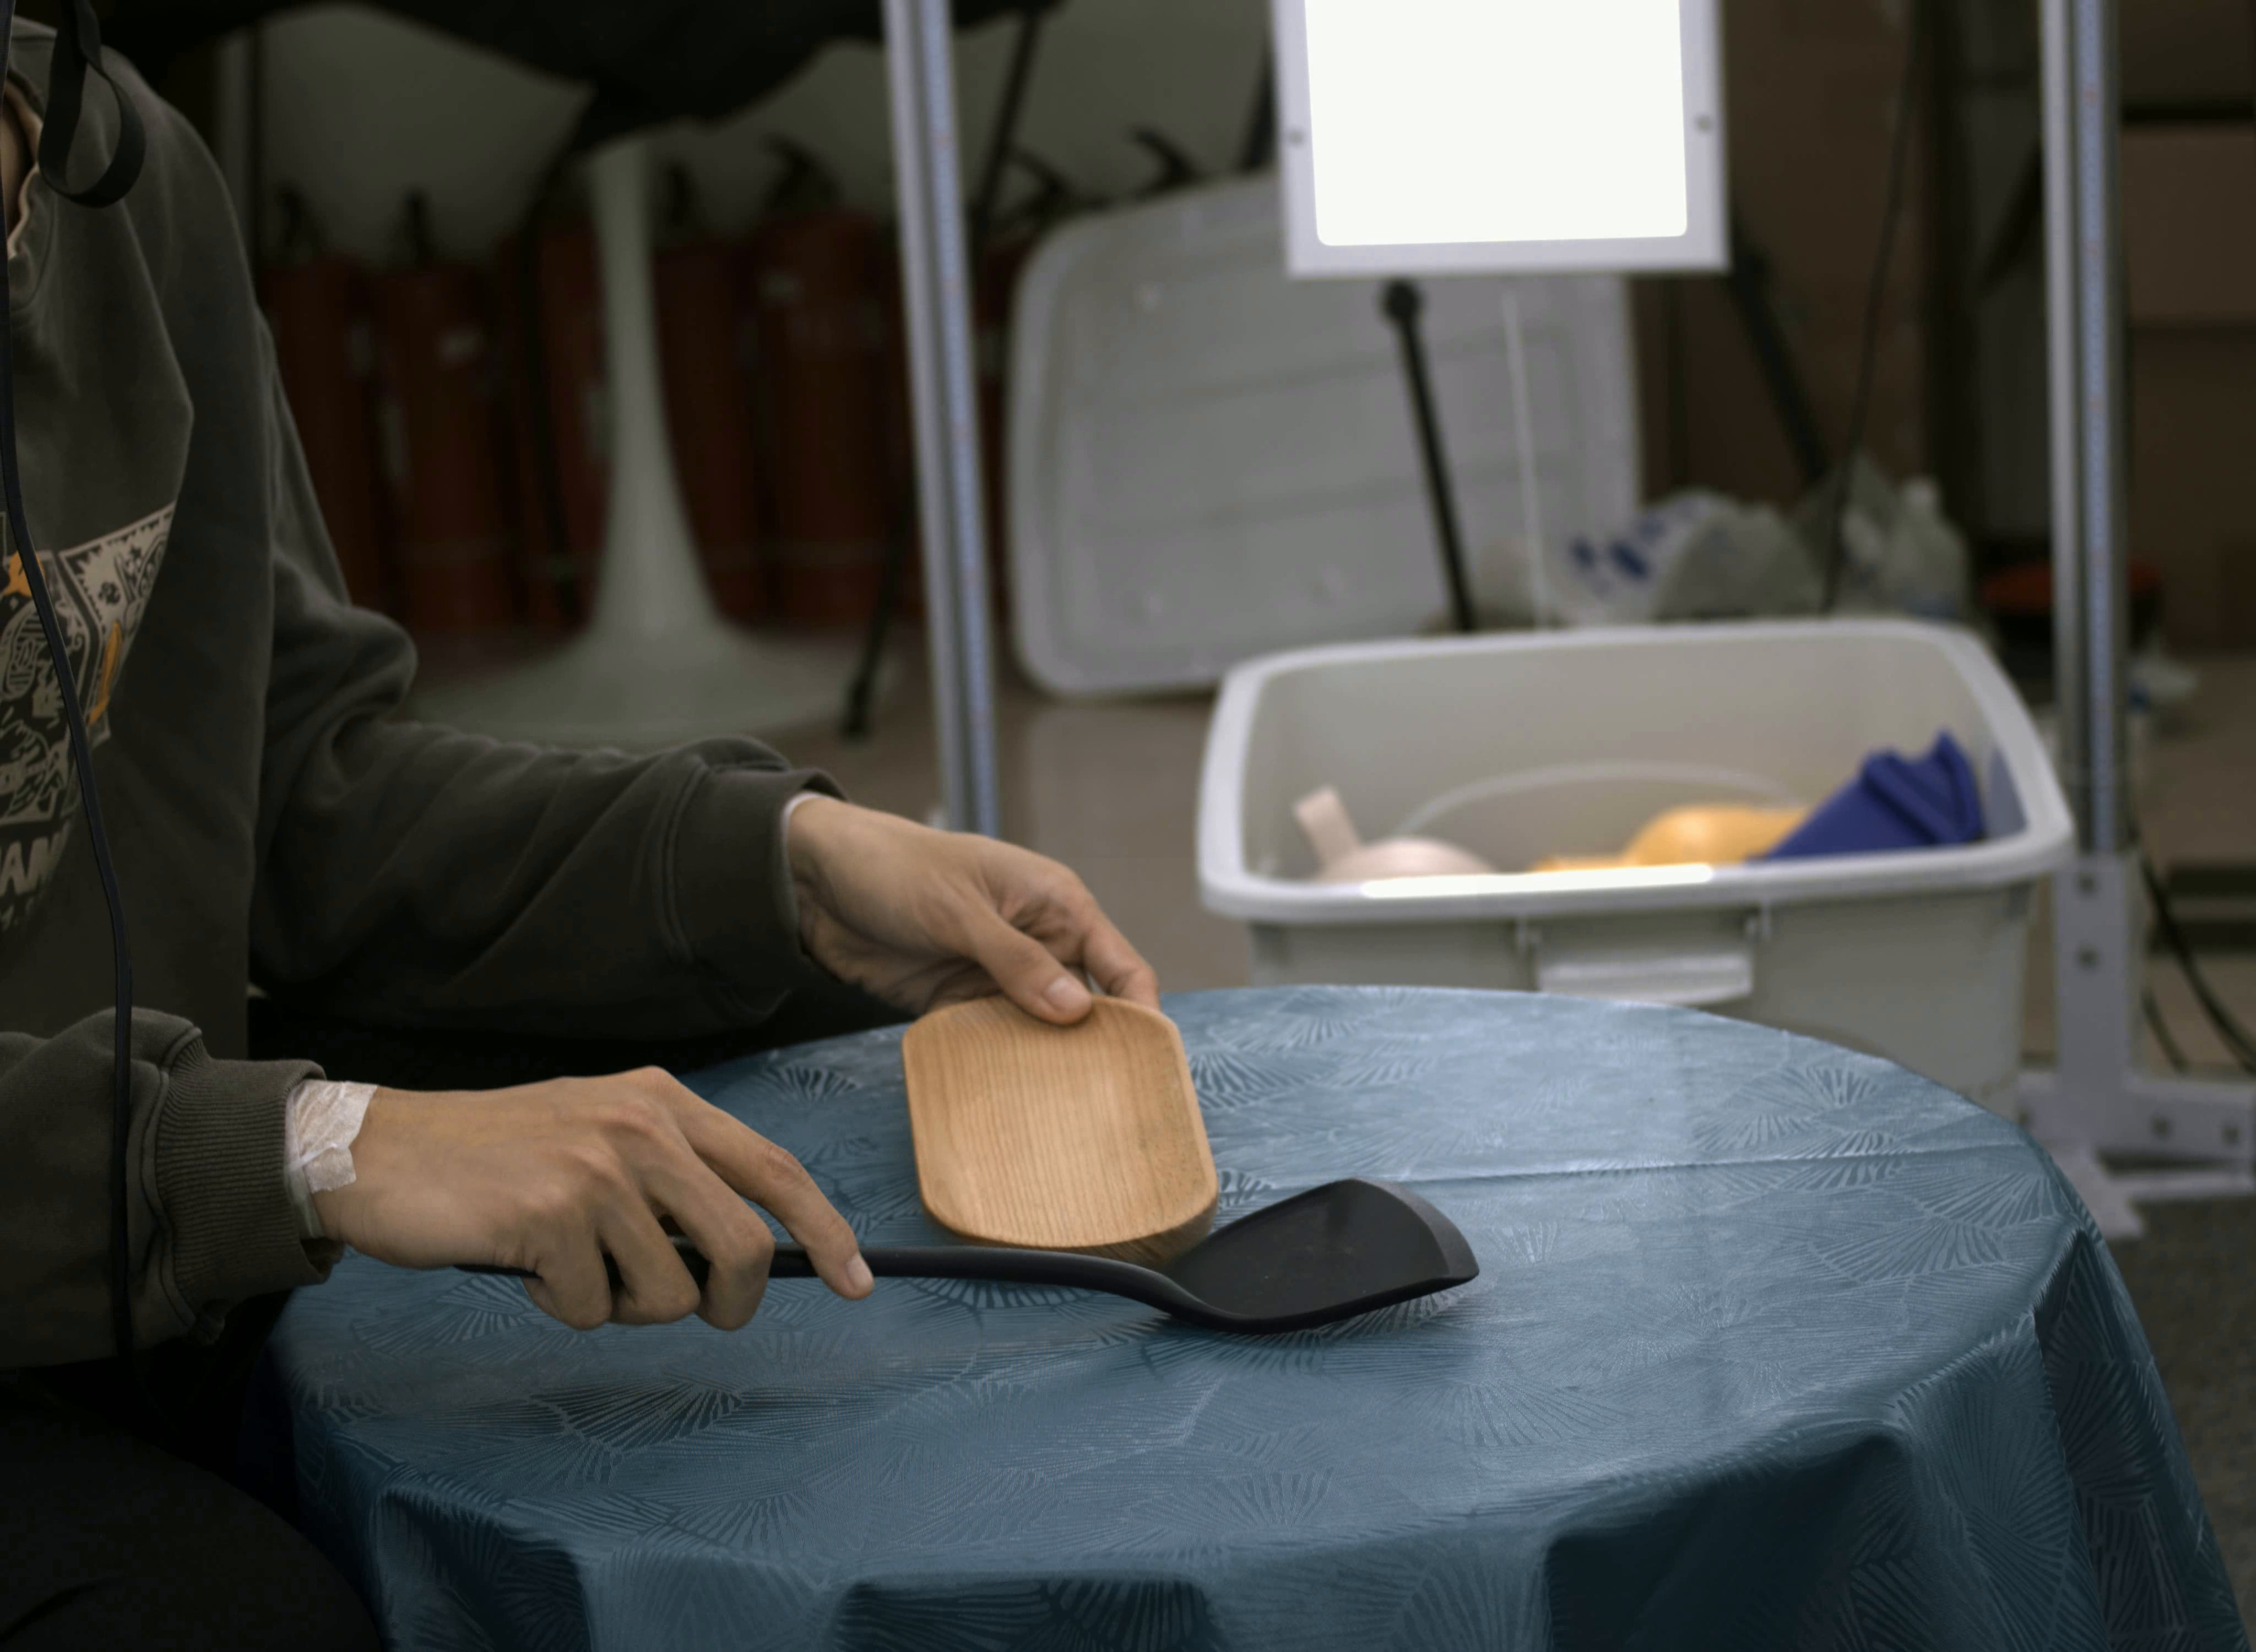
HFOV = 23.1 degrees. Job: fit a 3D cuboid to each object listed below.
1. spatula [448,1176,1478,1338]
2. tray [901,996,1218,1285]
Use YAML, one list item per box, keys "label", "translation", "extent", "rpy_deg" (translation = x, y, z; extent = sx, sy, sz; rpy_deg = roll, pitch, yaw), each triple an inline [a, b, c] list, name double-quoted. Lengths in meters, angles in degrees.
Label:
- label: "spatula"
  translation: [-0.052, 0.133, 1.740]
  extent: [0.321, 0.040, 0.100]
  rpy_deg: [5, 13, -14]
- label: "tray"
  translation: [-0.025, 0.107, 1.910]
  extent: [0.101, 0.020, 0.231]
  rpy_deg: [-6, 21, -3]
